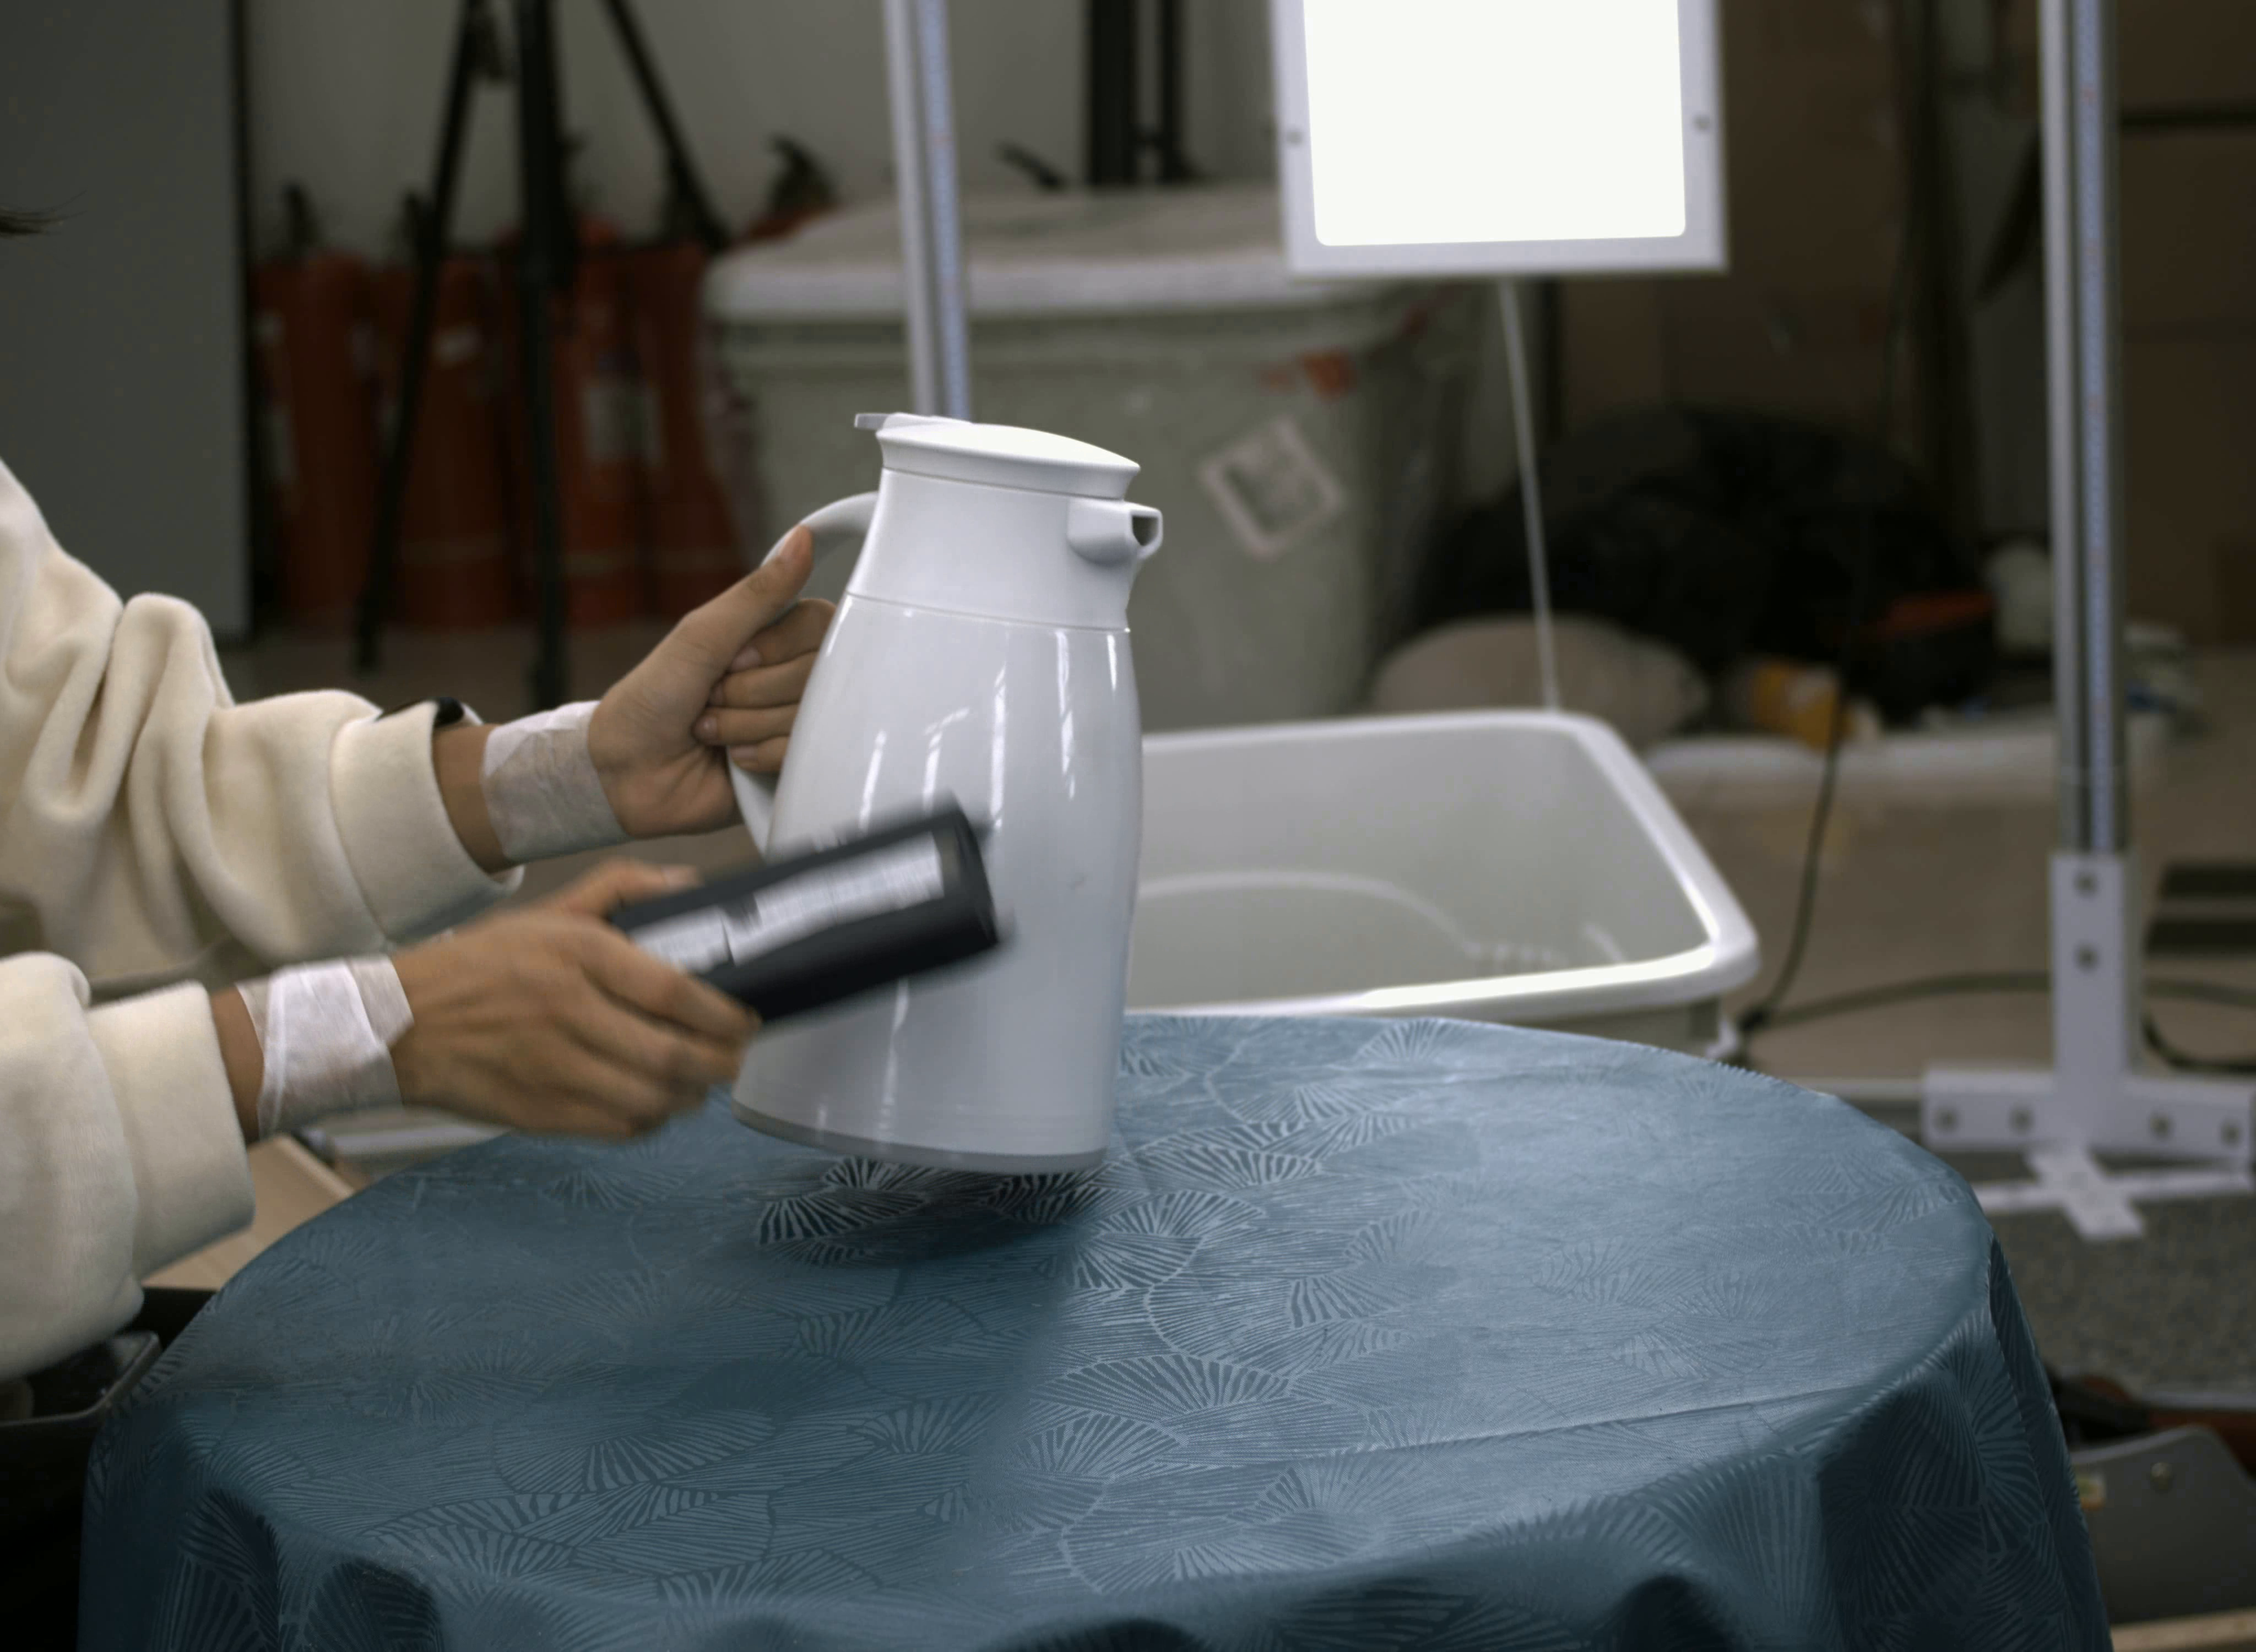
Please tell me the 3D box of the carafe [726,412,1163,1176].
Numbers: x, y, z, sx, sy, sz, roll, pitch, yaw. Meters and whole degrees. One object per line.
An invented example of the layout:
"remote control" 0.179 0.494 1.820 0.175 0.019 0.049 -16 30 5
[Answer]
"carafe" -0.071 -0.017 1.903 0.171 0.250 0.129 11 8 35

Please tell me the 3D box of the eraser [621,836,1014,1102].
"eraser" -0.100 0.045 1.777 0.126 0.030 0.053 -18 50 8
